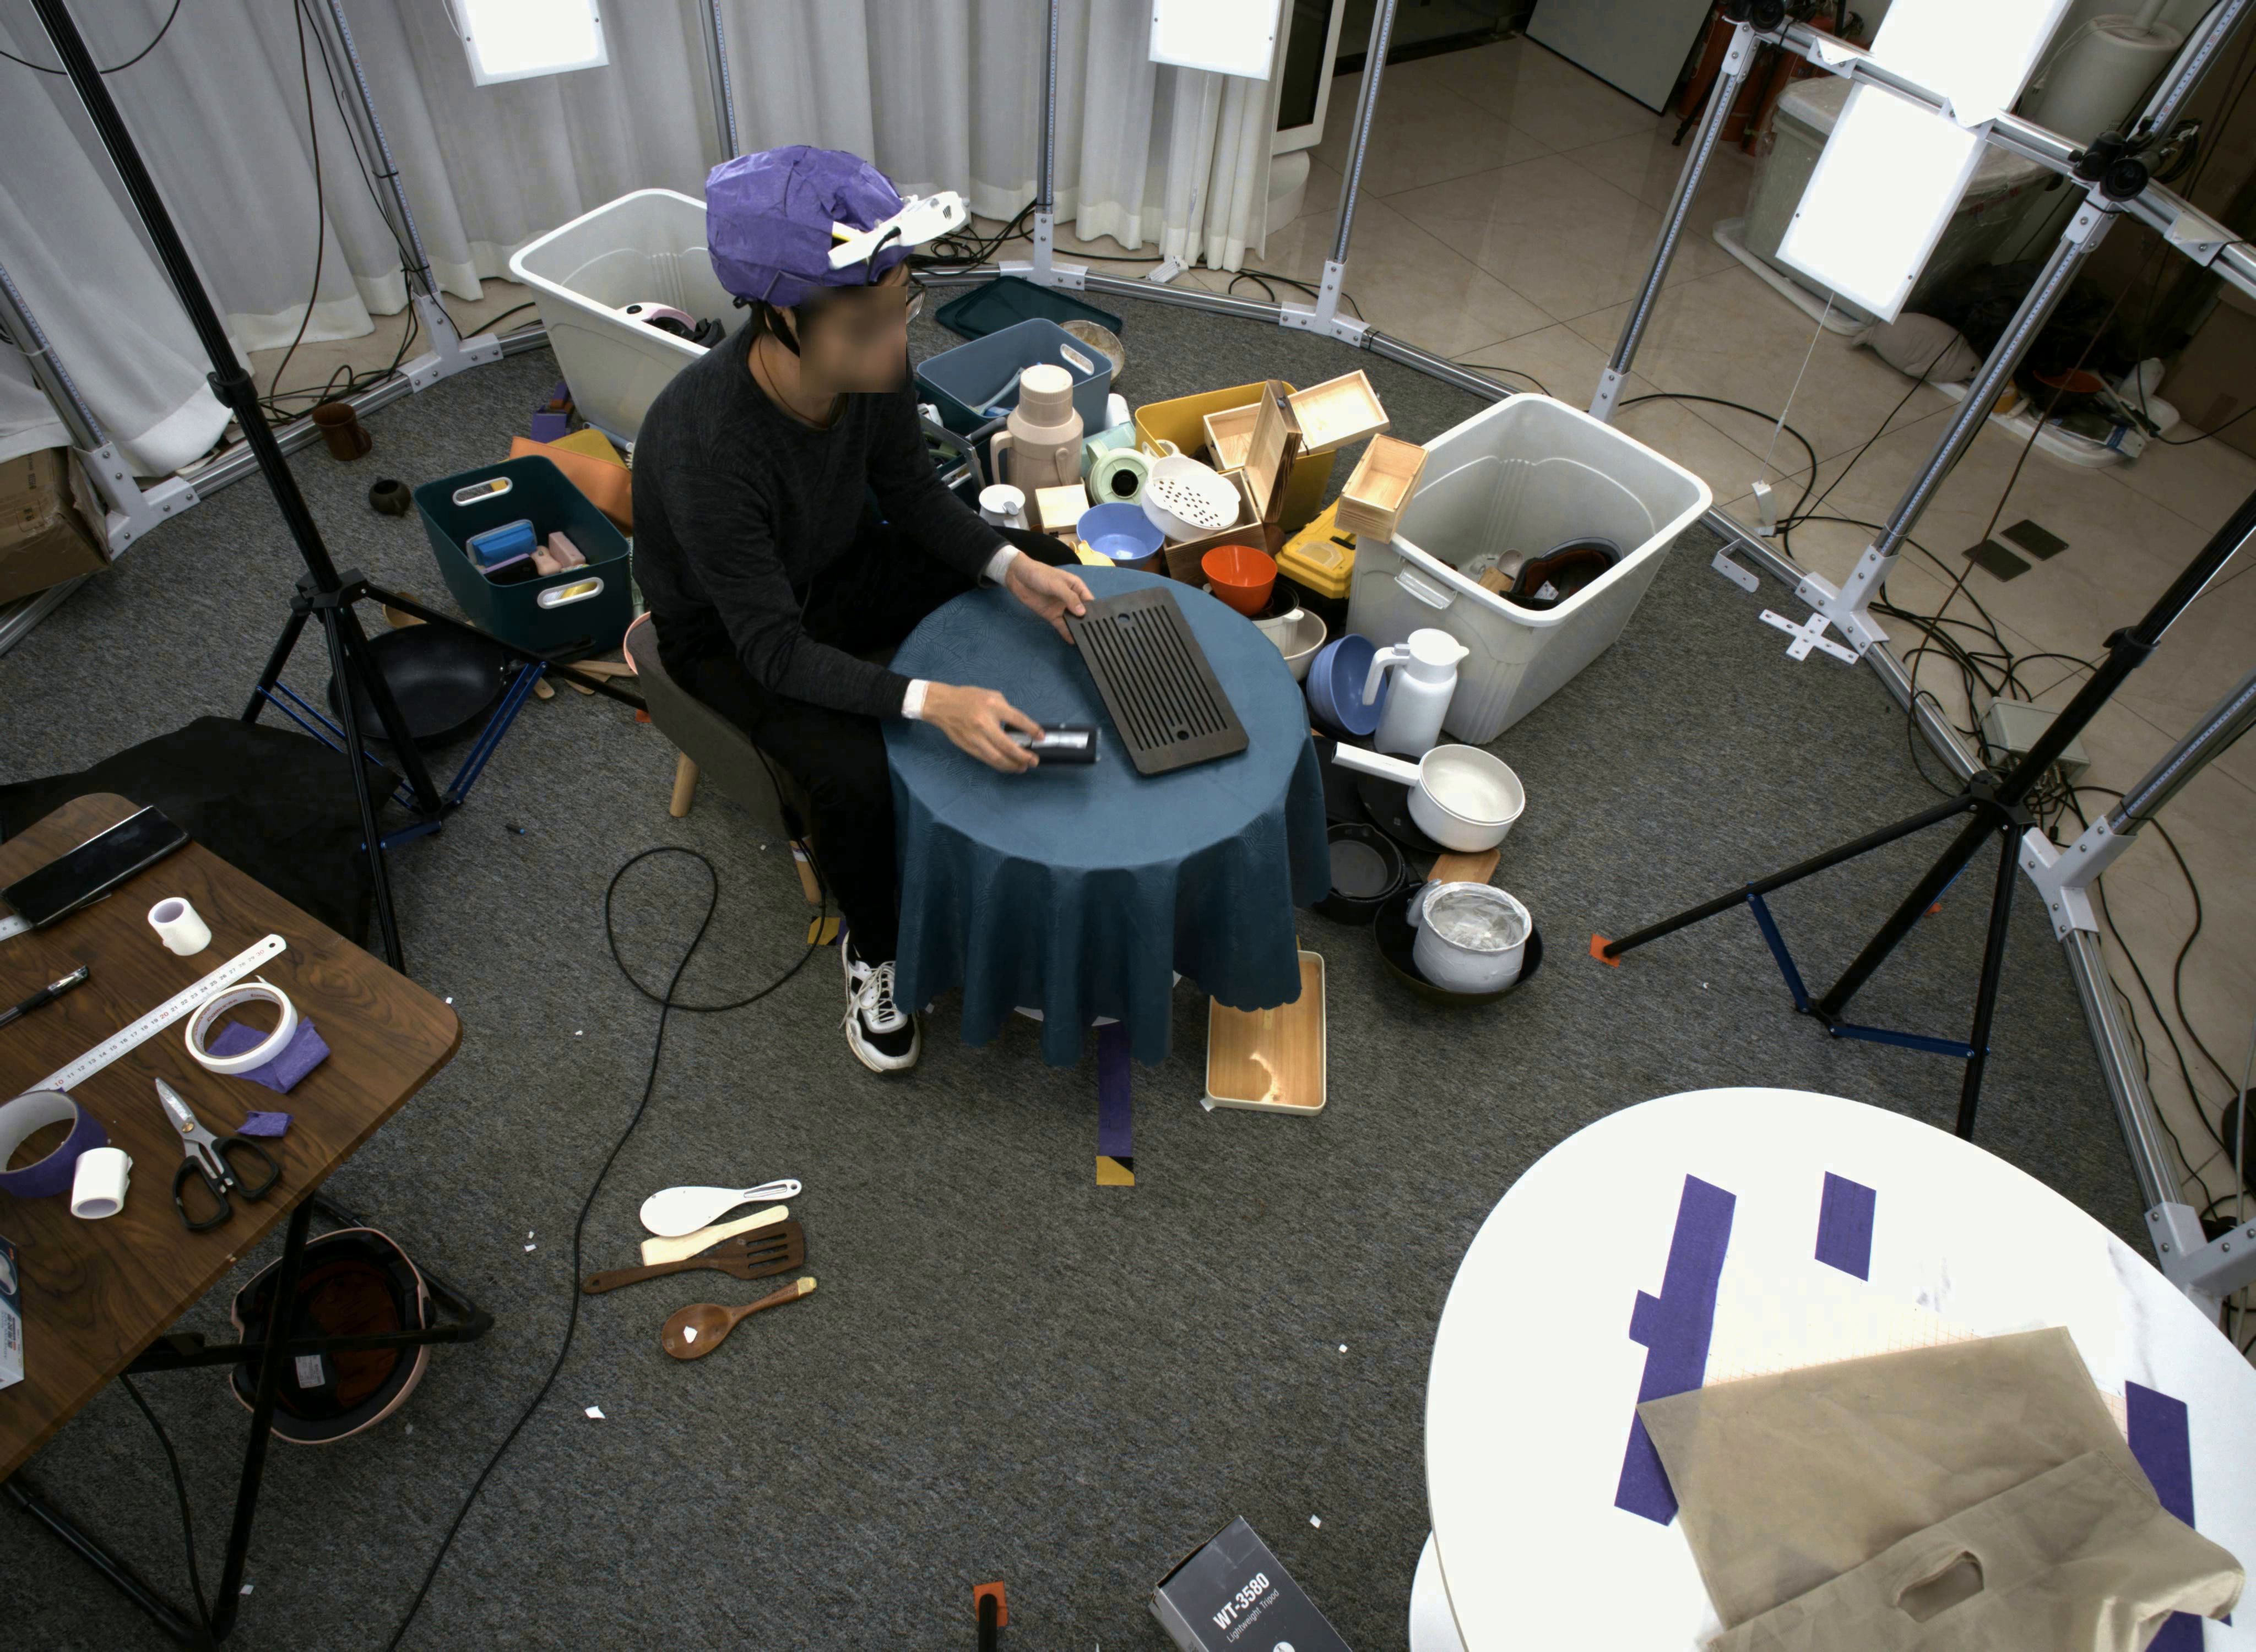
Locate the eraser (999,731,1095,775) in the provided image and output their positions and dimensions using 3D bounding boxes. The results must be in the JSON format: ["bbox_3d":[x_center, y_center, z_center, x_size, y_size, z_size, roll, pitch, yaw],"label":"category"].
[{"bbox_3d":[-0.106,-0.098,1.696,0.125,0.030,0.055,2,55,3],"label":"eraser"}]

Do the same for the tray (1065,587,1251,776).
[{"bbox_3d":[0.039,-0.209,1.816,0.170,0.018,0.312,-15,60,-17],"label":"tray"}]
